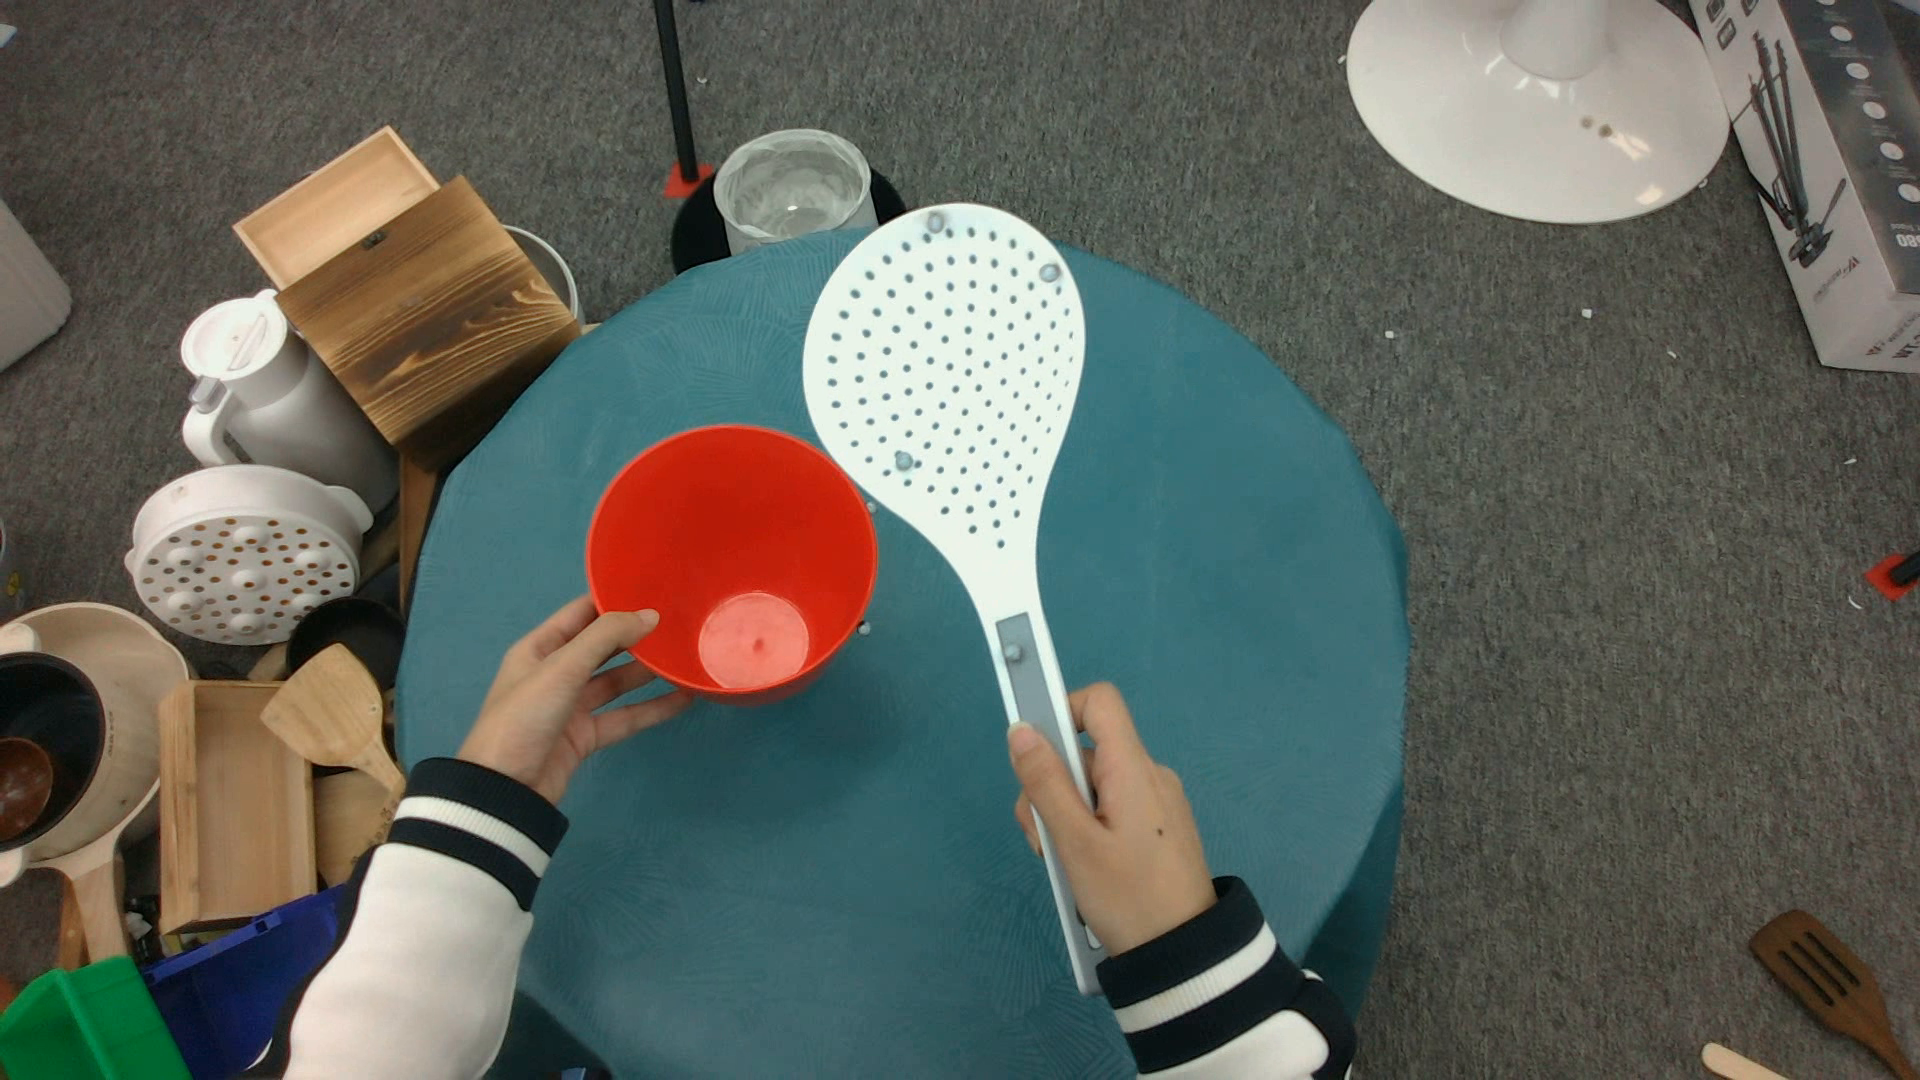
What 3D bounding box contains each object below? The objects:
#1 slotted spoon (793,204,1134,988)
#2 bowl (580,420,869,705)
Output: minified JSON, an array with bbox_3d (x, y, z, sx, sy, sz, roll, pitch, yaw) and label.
[{"bbox_3d":[0.016,0.017,0.603,0.135,0.046,0.350,-20,72,19],"label":"slotted spoon"},{"bbox_3d":[-0.124,0.025,0.744,0.148,0.104,0.148,4,58,-6],"label":"bowl"}]
